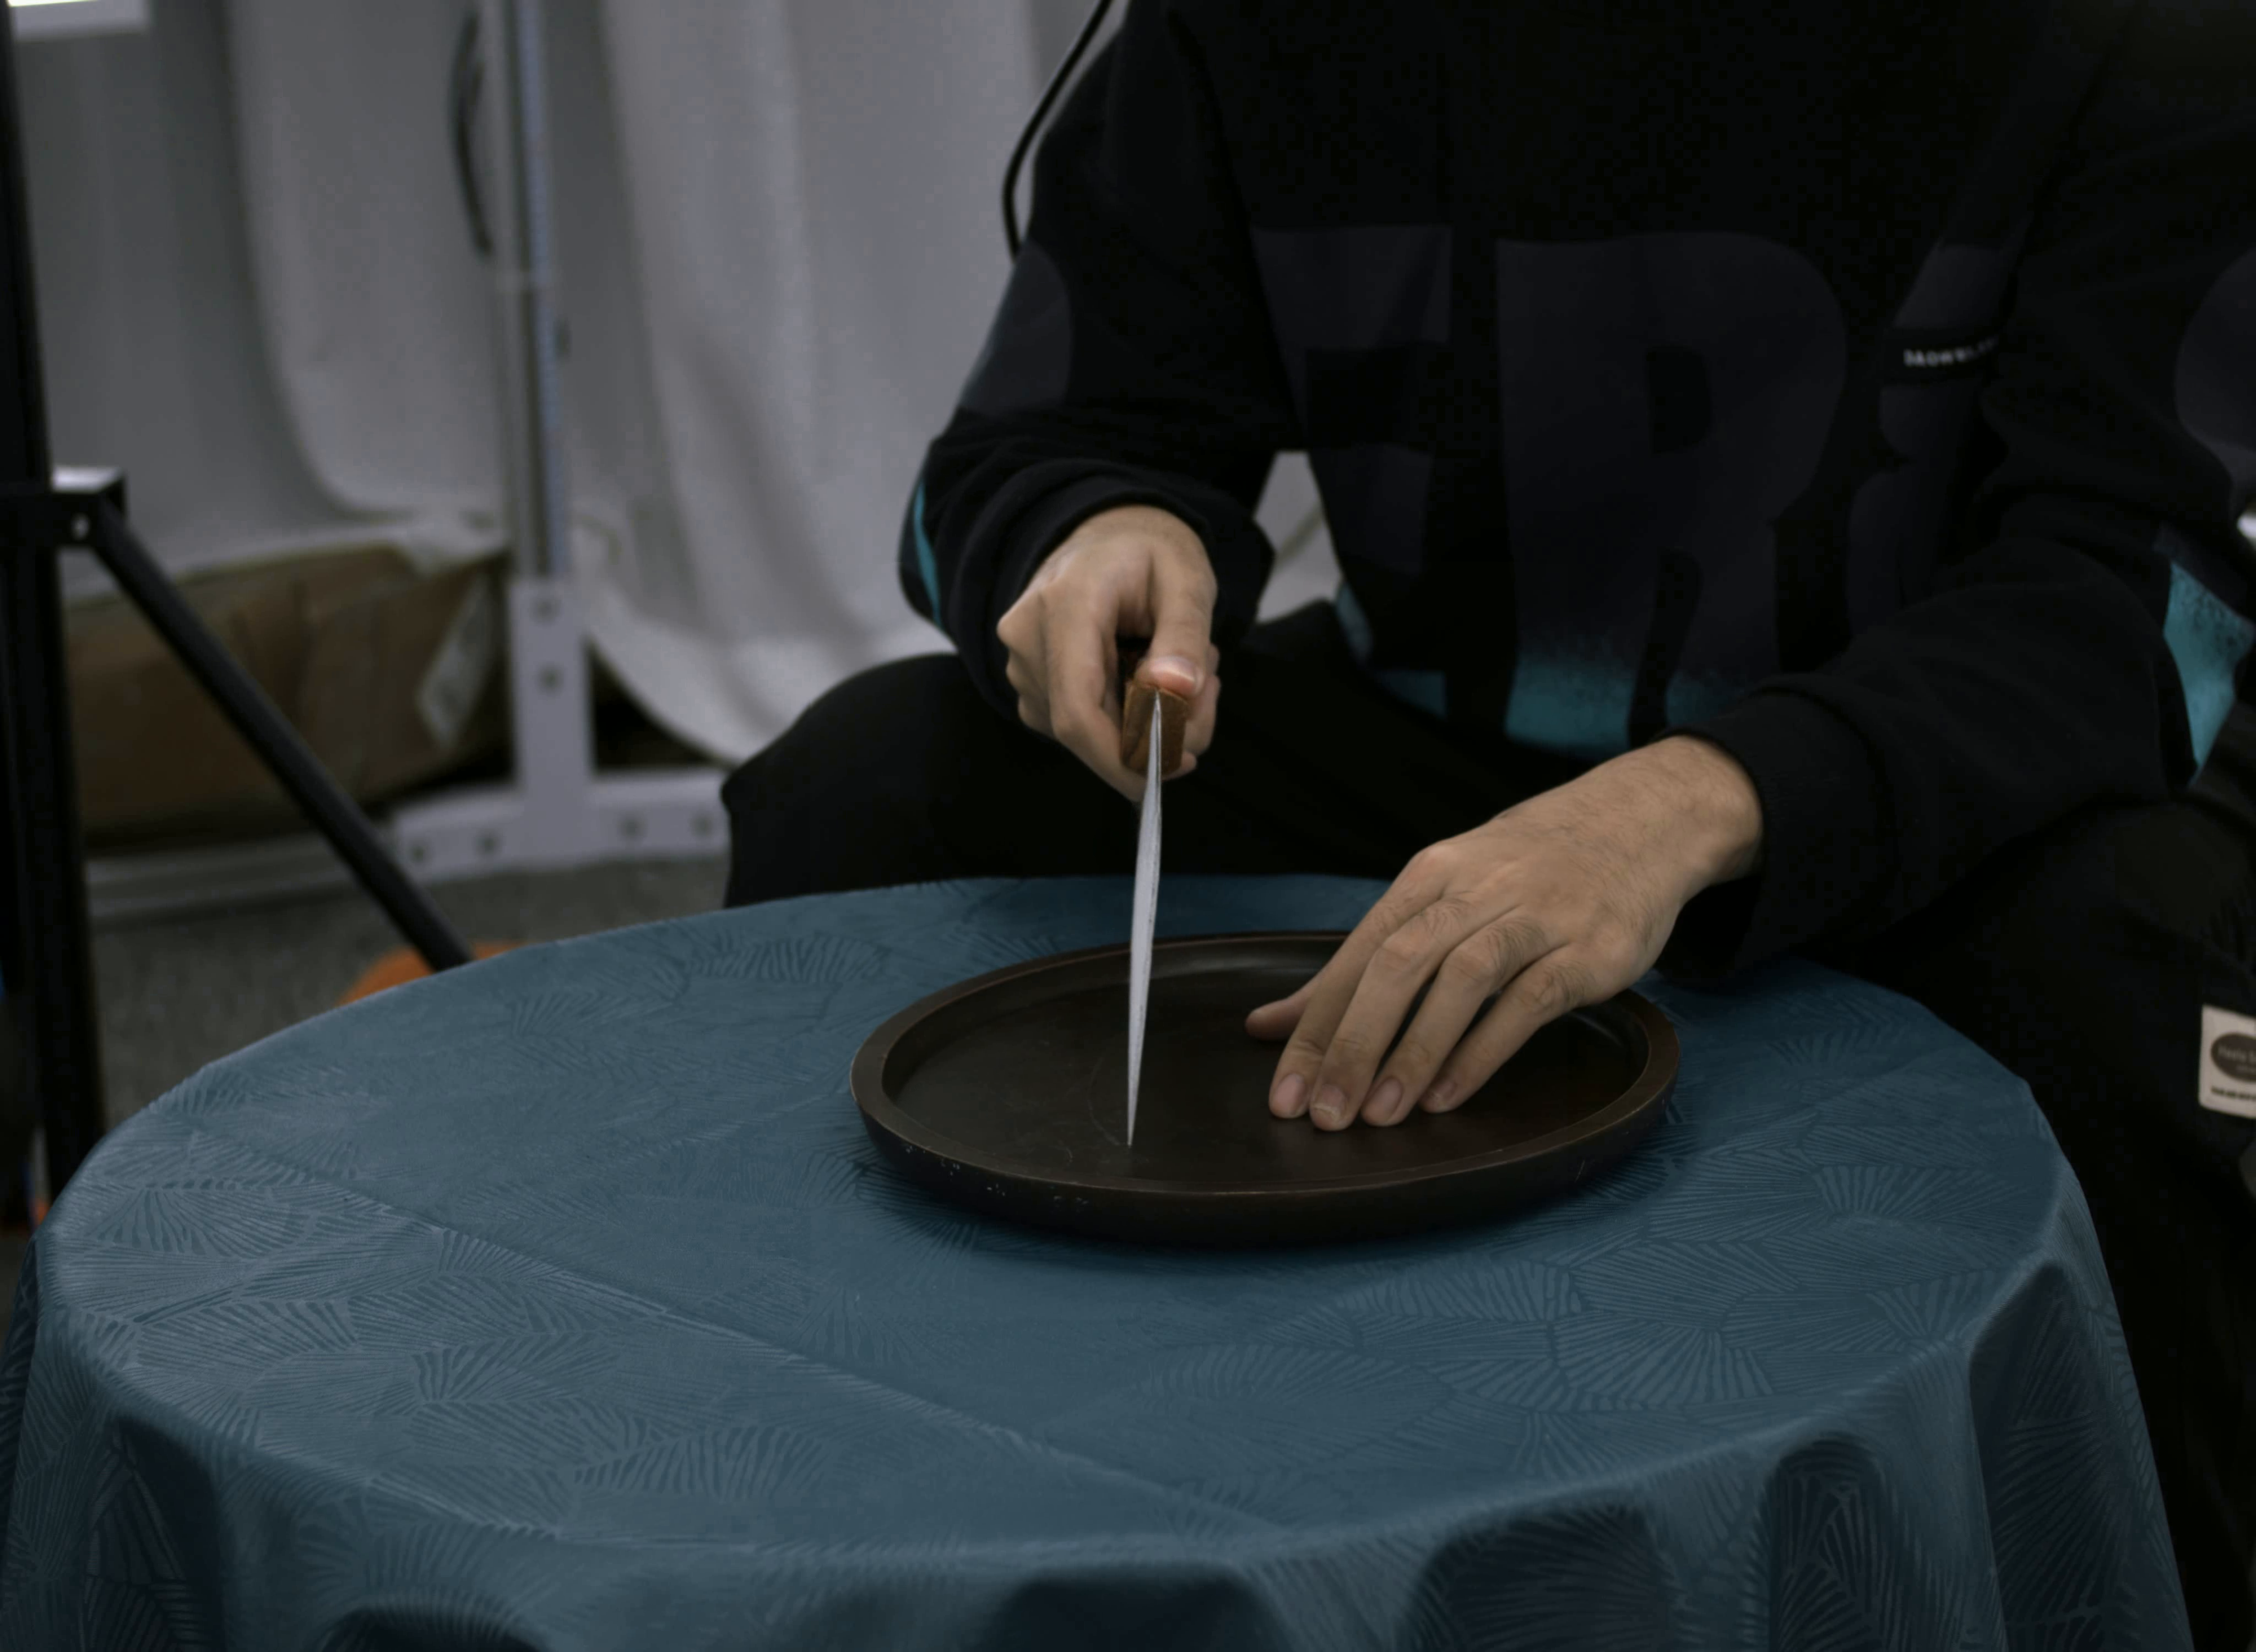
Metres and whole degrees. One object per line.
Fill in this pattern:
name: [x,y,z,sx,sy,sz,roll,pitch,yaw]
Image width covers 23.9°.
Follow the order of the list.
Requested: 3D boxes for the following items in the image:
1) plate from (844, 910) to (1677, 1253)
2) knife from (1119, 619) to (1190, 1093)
plate: [0.040,0.078,1.610,0.253,0.029,0.256,-5,16,0]
knife: [0.006,0.008,1.668,0.021,0.093,0.307,5,16,-1]
